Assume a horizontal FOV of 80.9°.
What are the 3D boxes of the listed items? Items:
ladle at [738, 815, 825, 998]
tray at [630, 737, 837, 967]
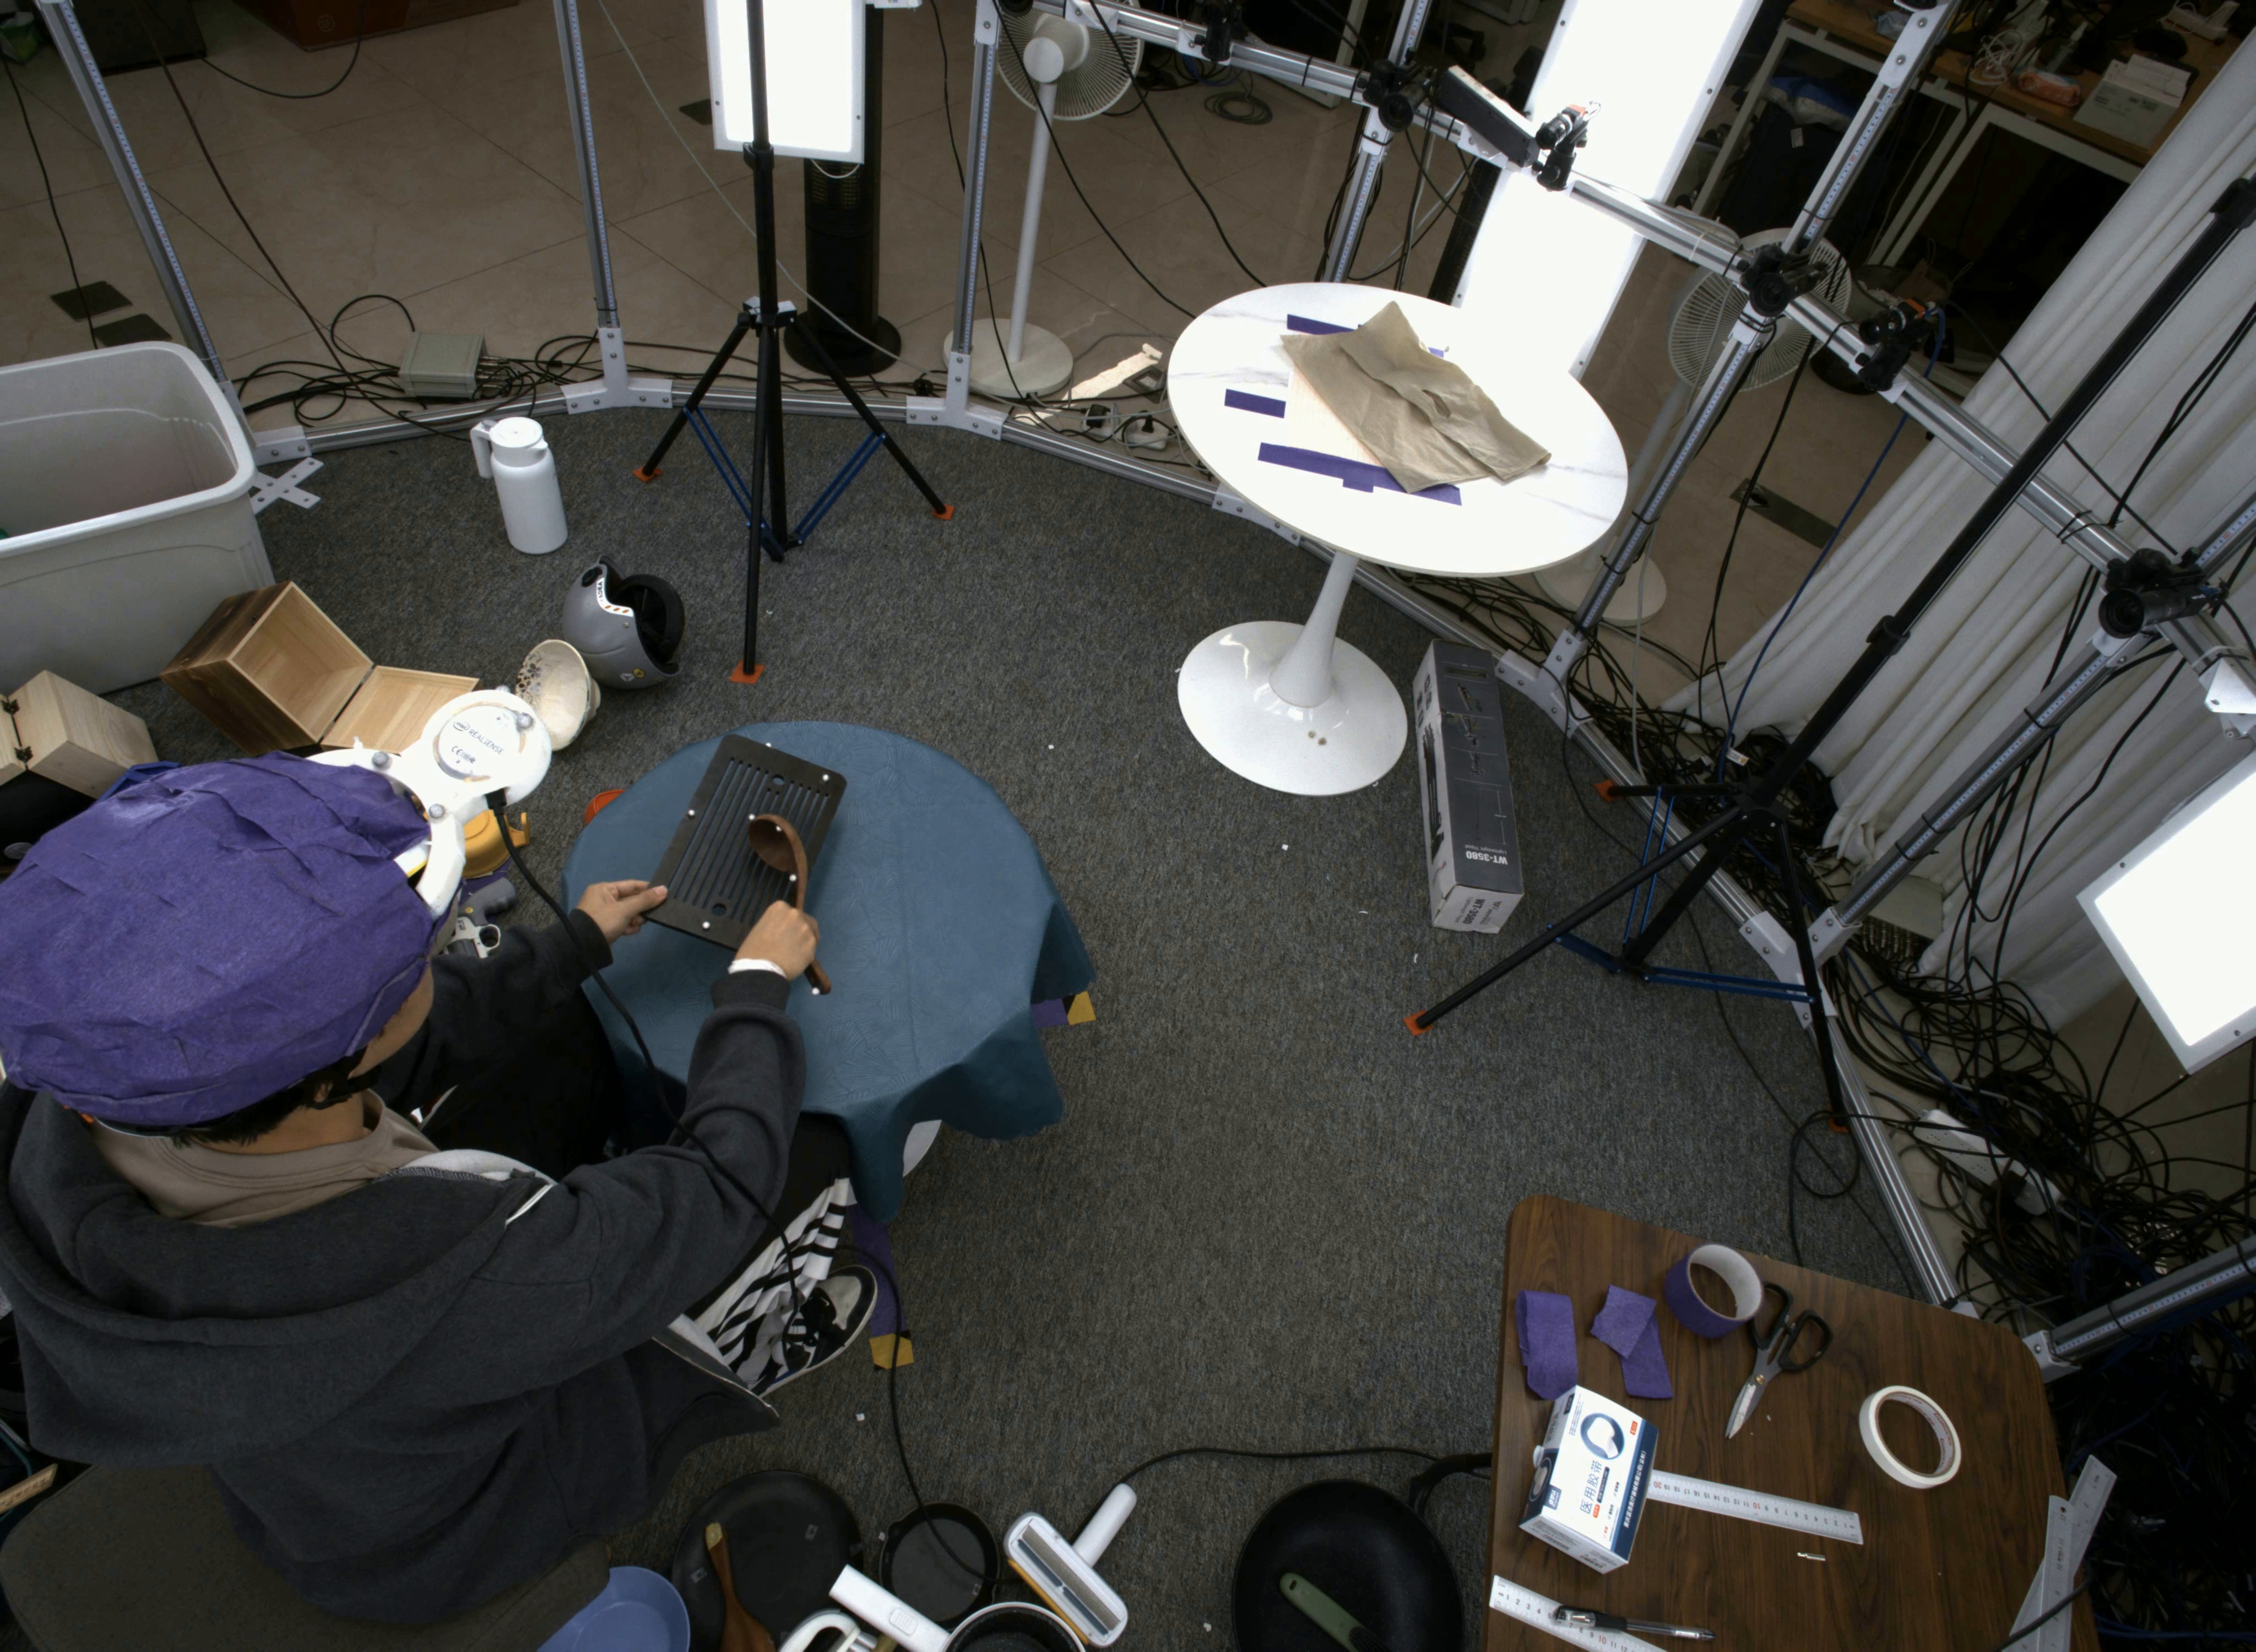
[{"bbox_3d":[-0.406,0.092,1.509,0.066,0.078,0.253,-4,51,-24],"label":"ladle"},{"bbox_3d":[-0.482,0.026,1.596,0.171,0.019,0.301,22,49,-12],"label":"tray"}]
